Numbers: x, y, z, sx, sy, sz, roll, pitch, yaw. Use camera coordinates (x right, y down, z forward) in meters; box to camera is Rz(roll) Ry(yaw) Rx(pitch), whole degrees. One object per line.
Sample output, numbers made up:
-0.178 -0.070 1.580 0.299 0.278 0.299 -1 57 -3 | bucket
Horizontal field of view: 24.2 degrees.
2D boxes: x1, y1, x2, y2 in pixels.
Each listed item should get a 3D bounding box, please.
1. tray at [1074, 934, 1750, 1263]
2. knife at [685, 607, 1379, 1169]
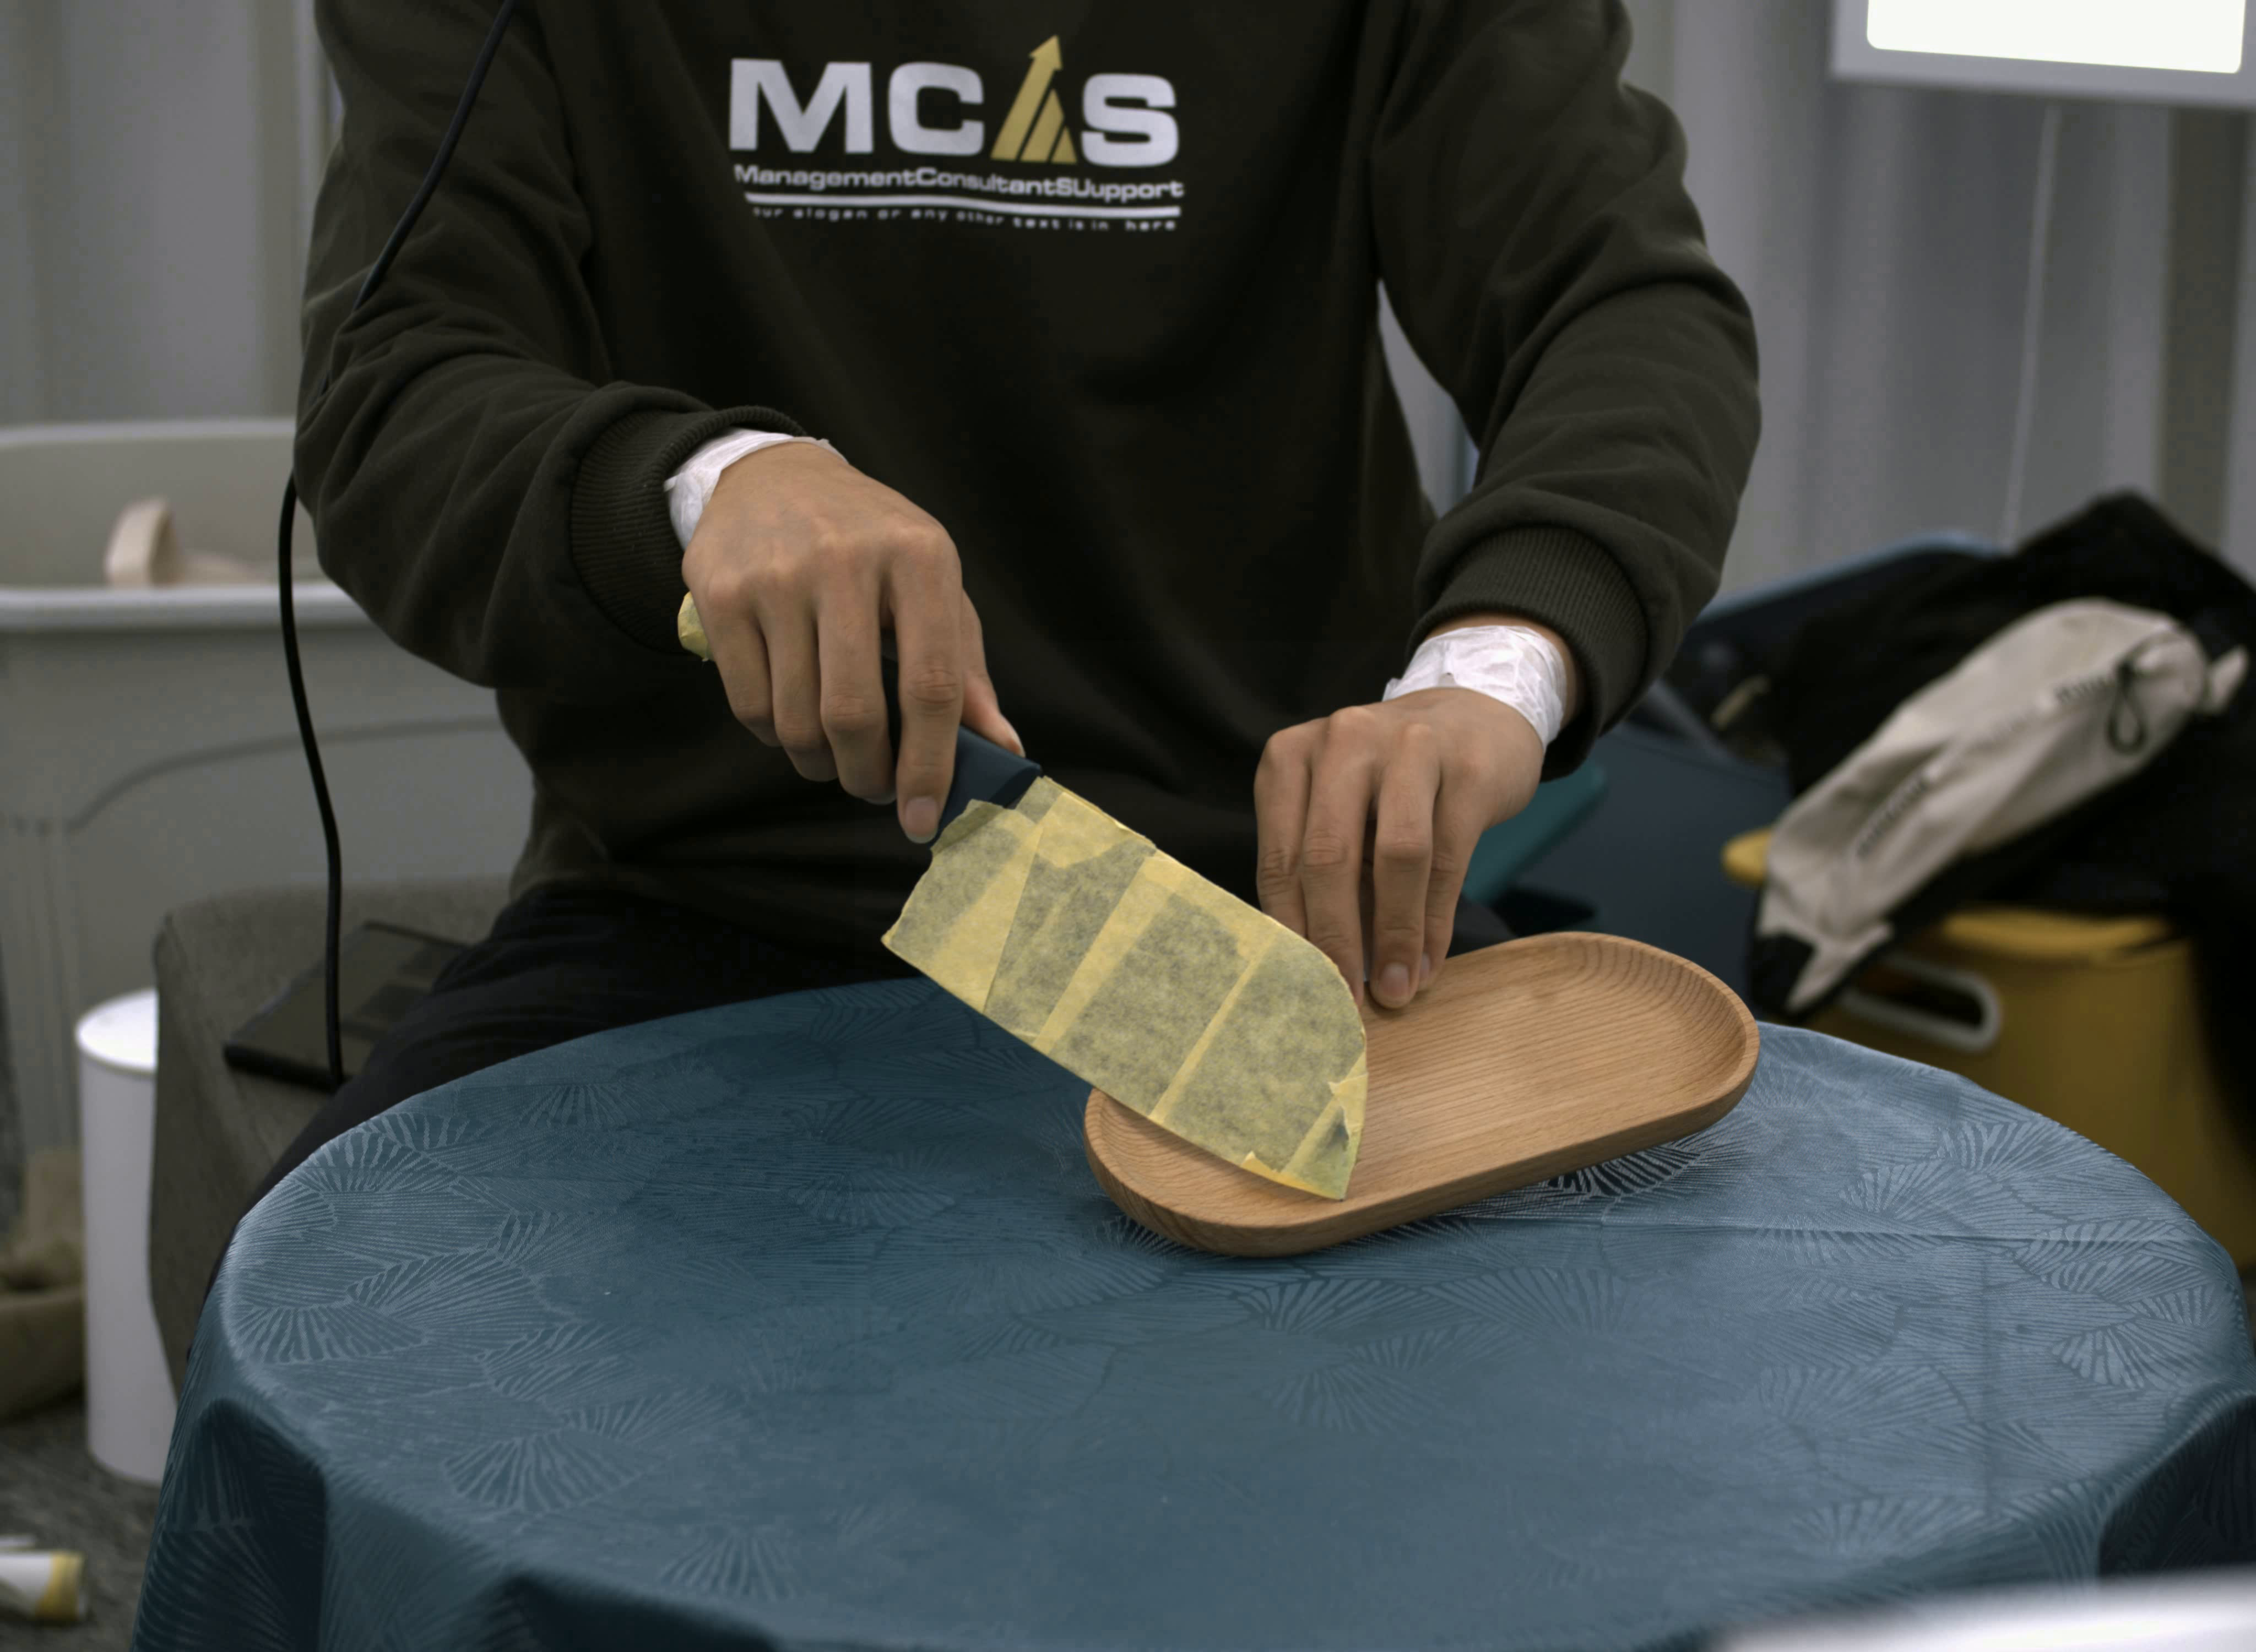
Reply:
0.090 0.084 1.632 0.232 0.020 0.100 -16 38 -27 | tray
-0.036 0.018 1.633 0.286 0.081 0.027 35 -4 22 | knife
